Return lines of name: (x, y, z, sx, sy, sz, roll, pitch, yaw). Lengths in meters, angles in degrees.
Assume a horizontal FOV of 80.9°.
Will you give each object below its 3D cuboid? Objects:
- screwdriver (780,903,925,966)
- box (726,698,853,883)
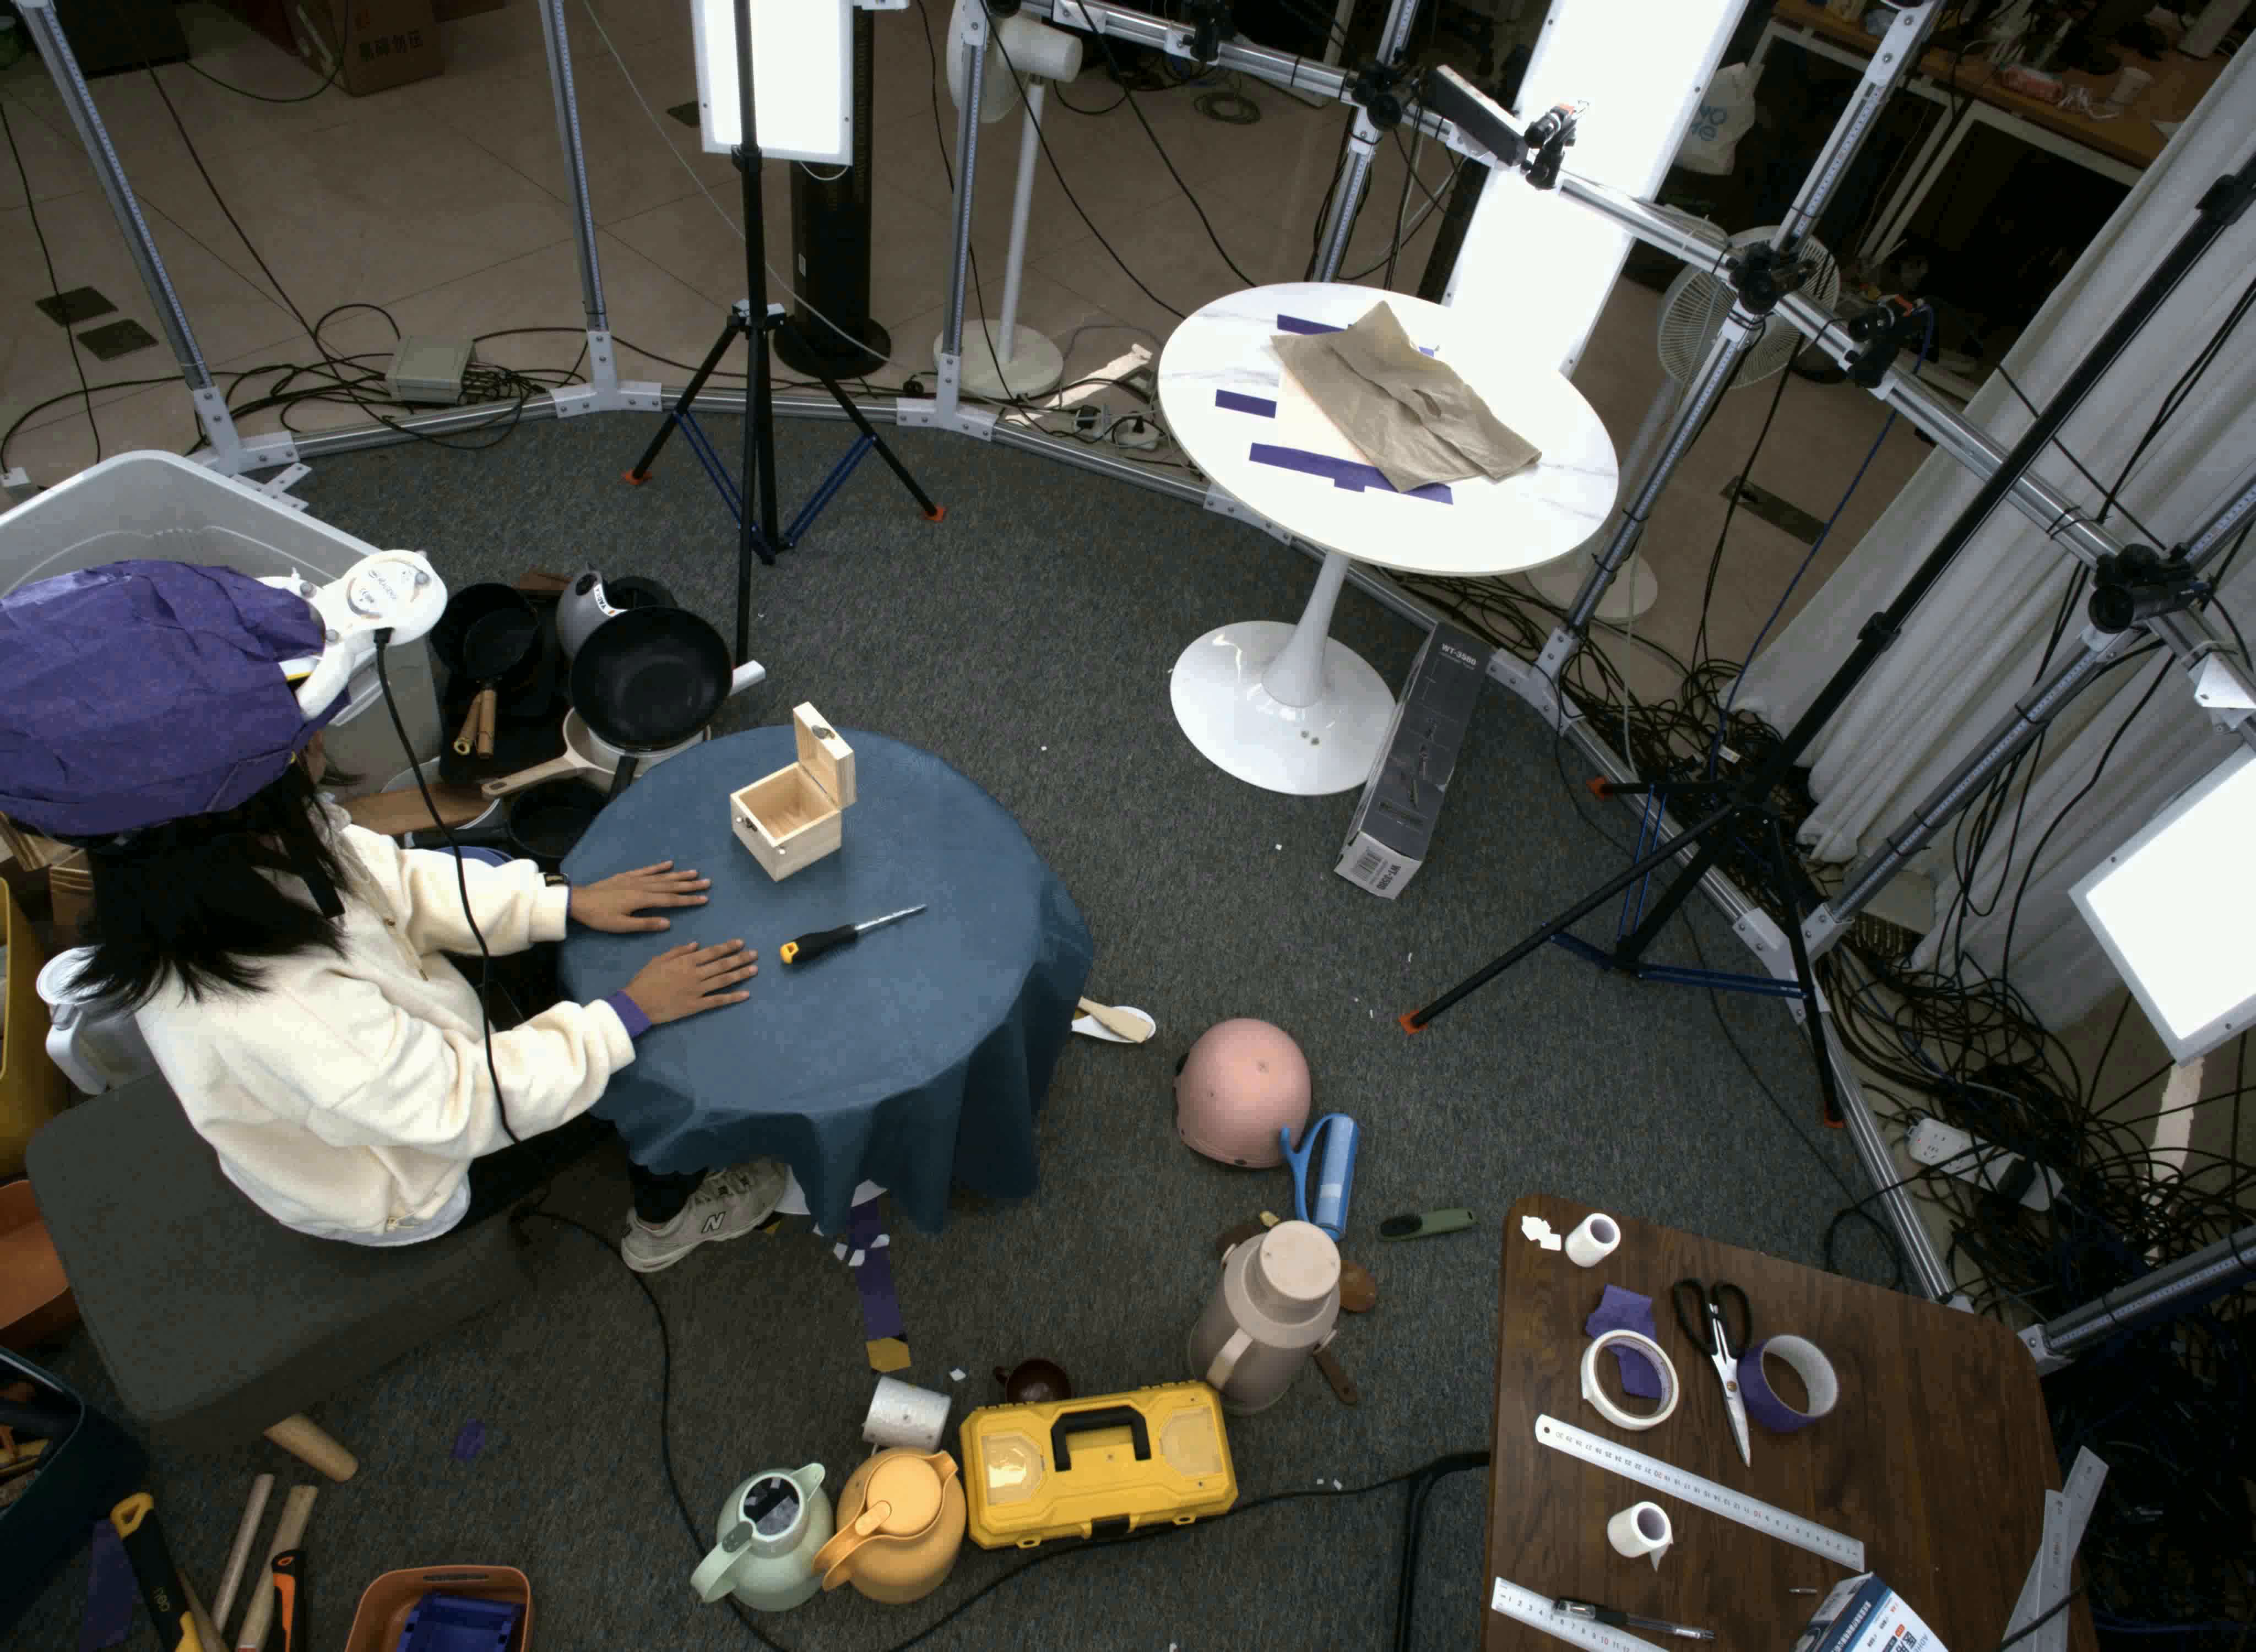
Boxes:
screwdriver: (-0.341, 0.132, 1.628, 0.199, 0.032, 0.030, -18, 58, -28)
box: (-0.429, -0.045, 1.632, 0.134, 0.188, 0.100, -32, 65, -32)
